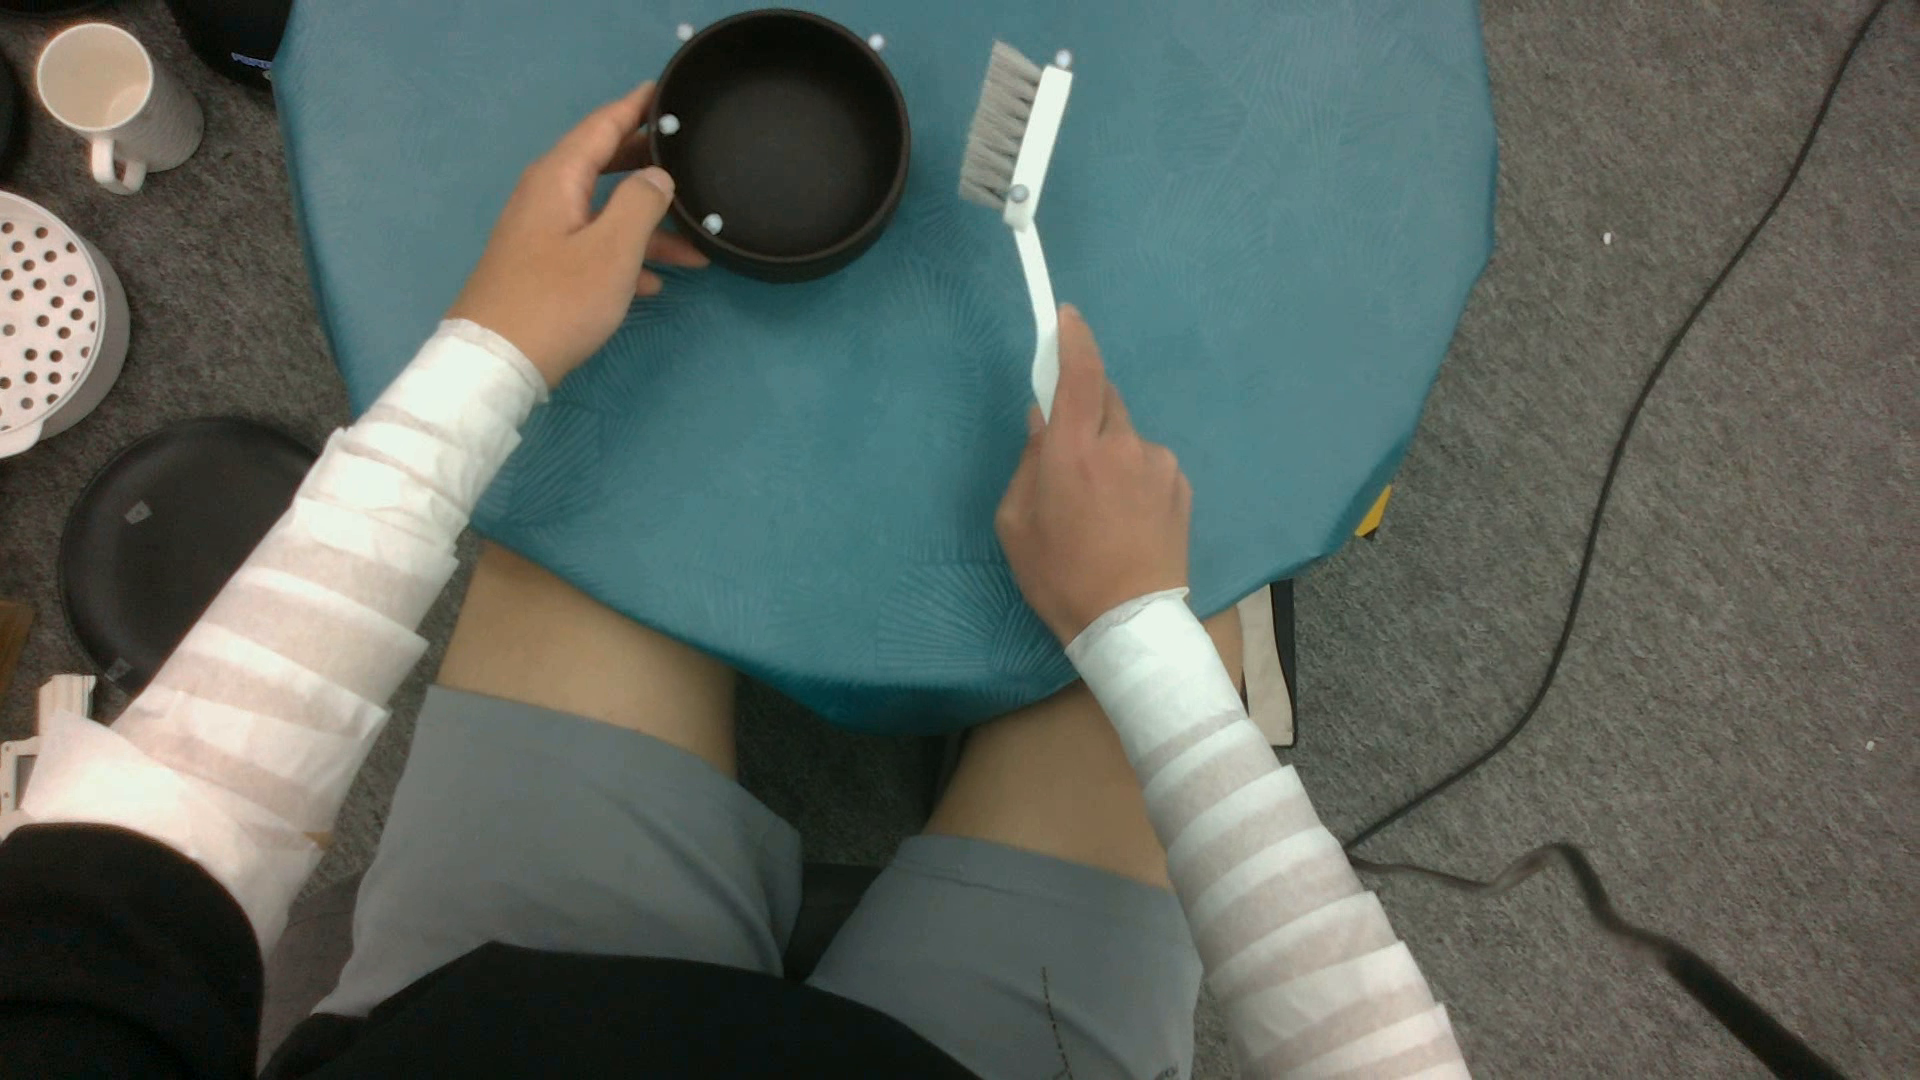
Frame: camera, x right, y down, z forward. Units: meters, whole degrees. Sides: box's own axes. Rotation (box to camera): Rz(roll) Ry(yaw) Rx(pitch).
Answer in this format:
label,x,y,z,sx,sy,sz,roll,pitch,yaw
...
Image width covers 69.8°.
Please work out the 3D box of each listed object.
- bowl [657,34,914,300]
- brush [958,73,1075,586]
label,x,y,z,sx,sy,sz,roll,pitch,yaw
bowl,-0.082,-0.171,0.654,0.118,0.070,0.118,0,87,-7
brush,0.028,-0.094,0.653,0.050,0.034,0.243,-1,106,6
